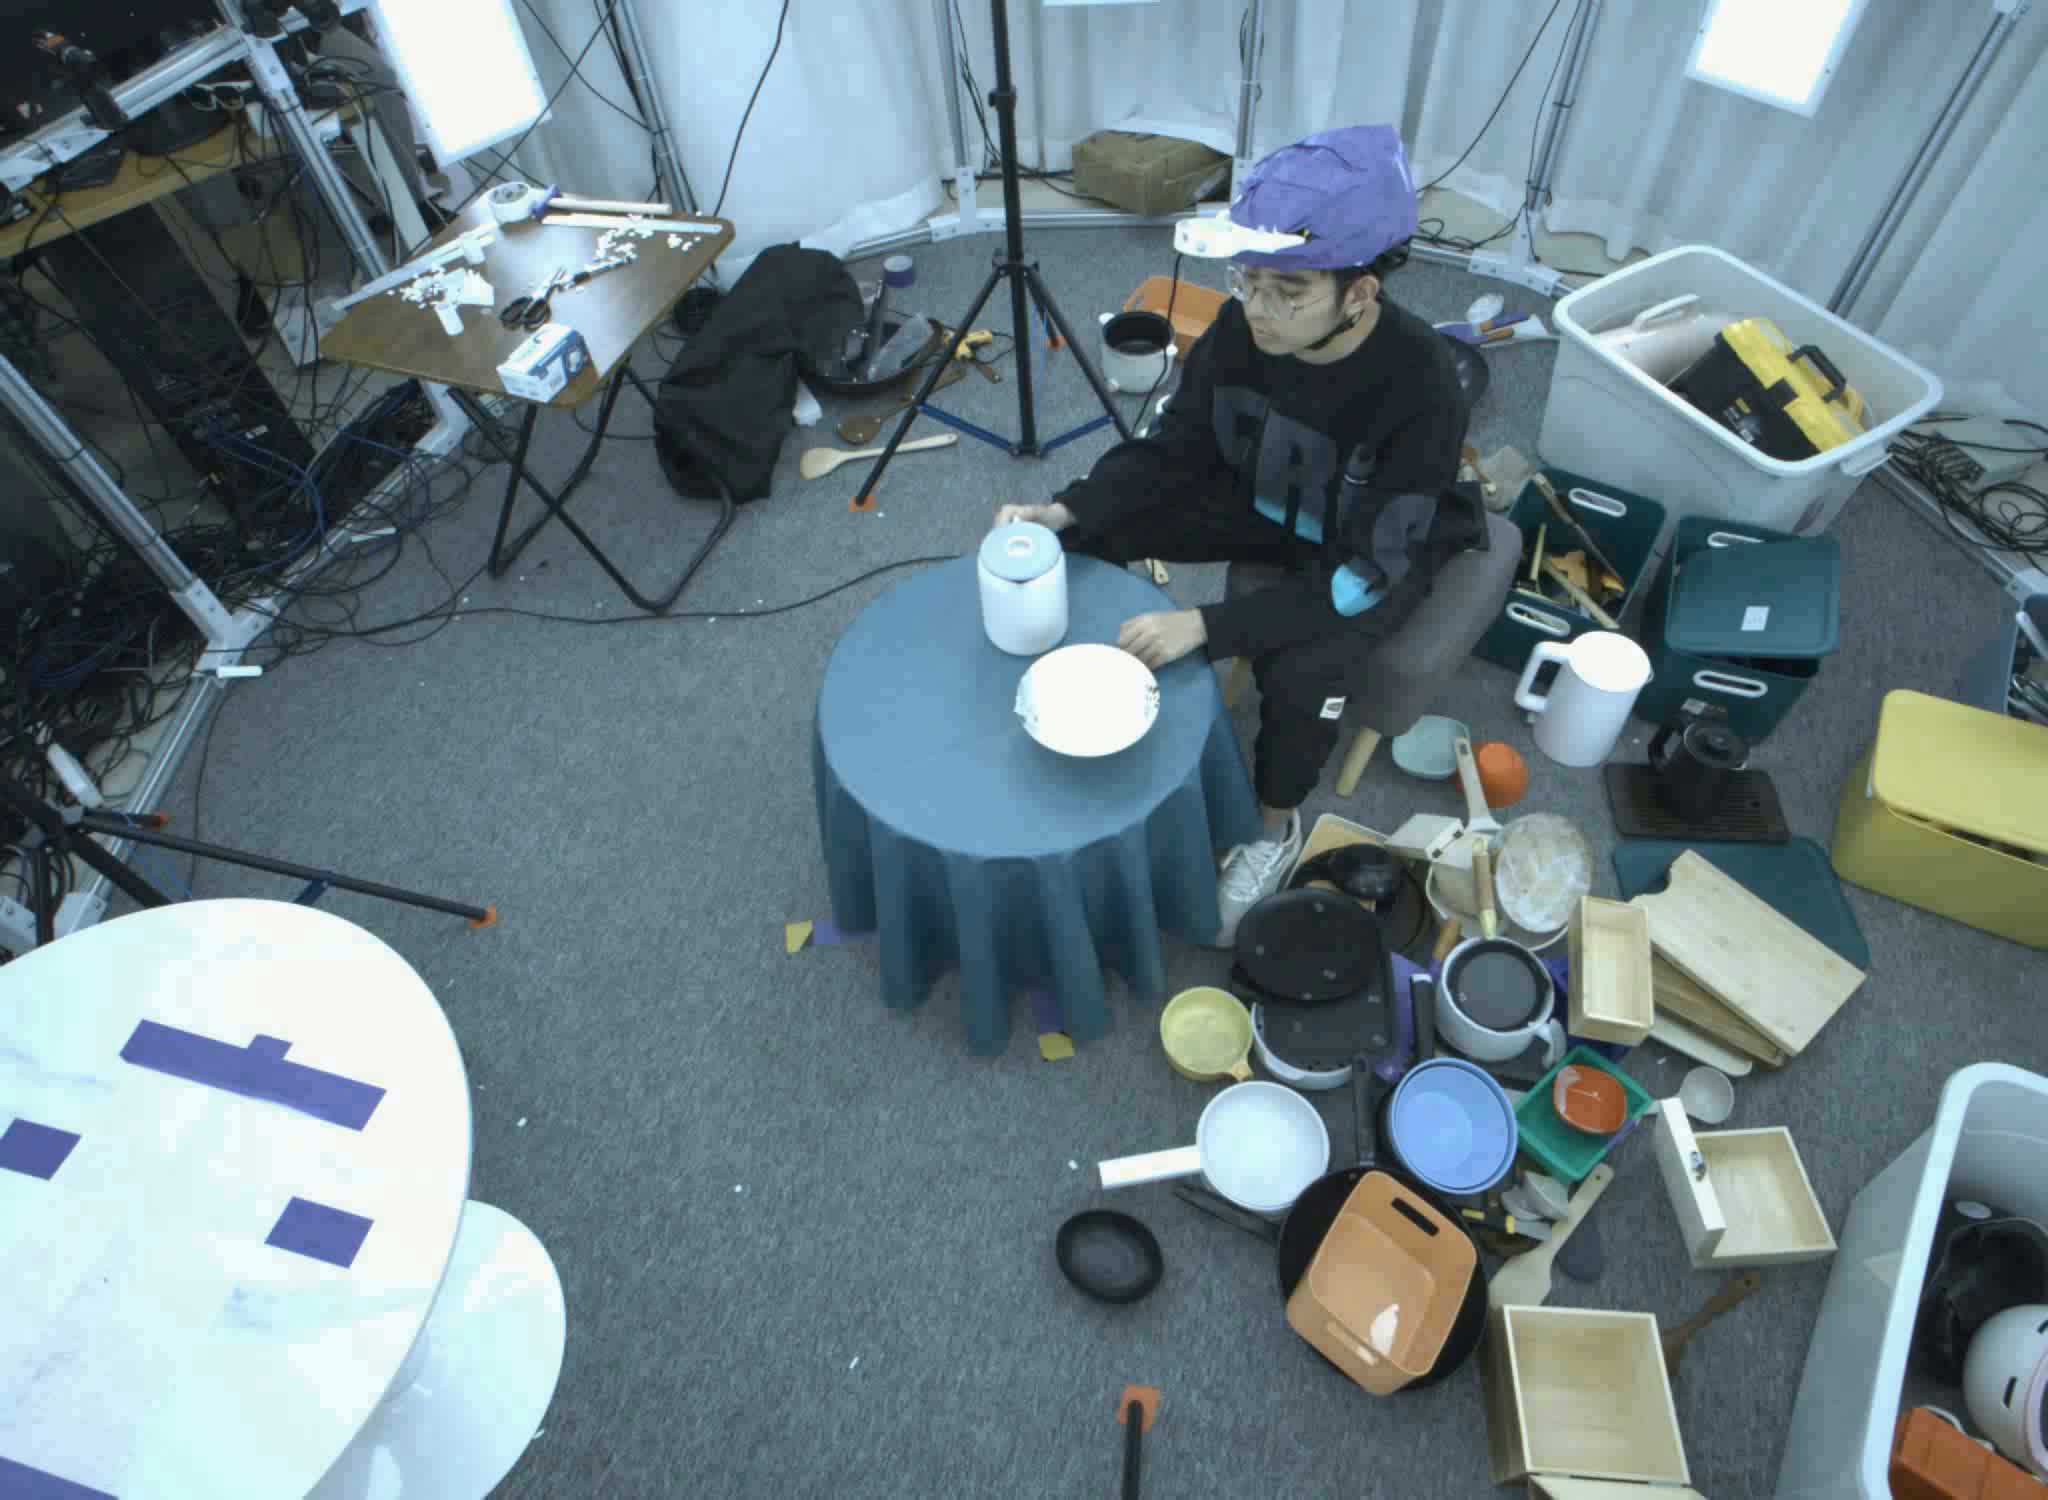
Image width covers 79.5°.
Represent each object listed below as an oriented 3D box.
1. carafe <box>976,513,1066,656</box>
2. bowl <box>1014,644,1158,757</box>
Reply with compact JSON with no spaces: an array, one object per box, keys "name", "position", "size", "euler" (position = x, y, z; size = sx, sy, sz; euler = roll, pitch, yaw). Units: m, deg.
[{"name":"carafe","position":[-0.005,-0.262,1.865],"size":[0.132,0.184,0.189],"euler":[-4,52,-1]},{"name":"bowl","position":[0.088,-0.051,1.770],"size":[0.204,0.078,0.202],"euler":[1,53,0]}]
